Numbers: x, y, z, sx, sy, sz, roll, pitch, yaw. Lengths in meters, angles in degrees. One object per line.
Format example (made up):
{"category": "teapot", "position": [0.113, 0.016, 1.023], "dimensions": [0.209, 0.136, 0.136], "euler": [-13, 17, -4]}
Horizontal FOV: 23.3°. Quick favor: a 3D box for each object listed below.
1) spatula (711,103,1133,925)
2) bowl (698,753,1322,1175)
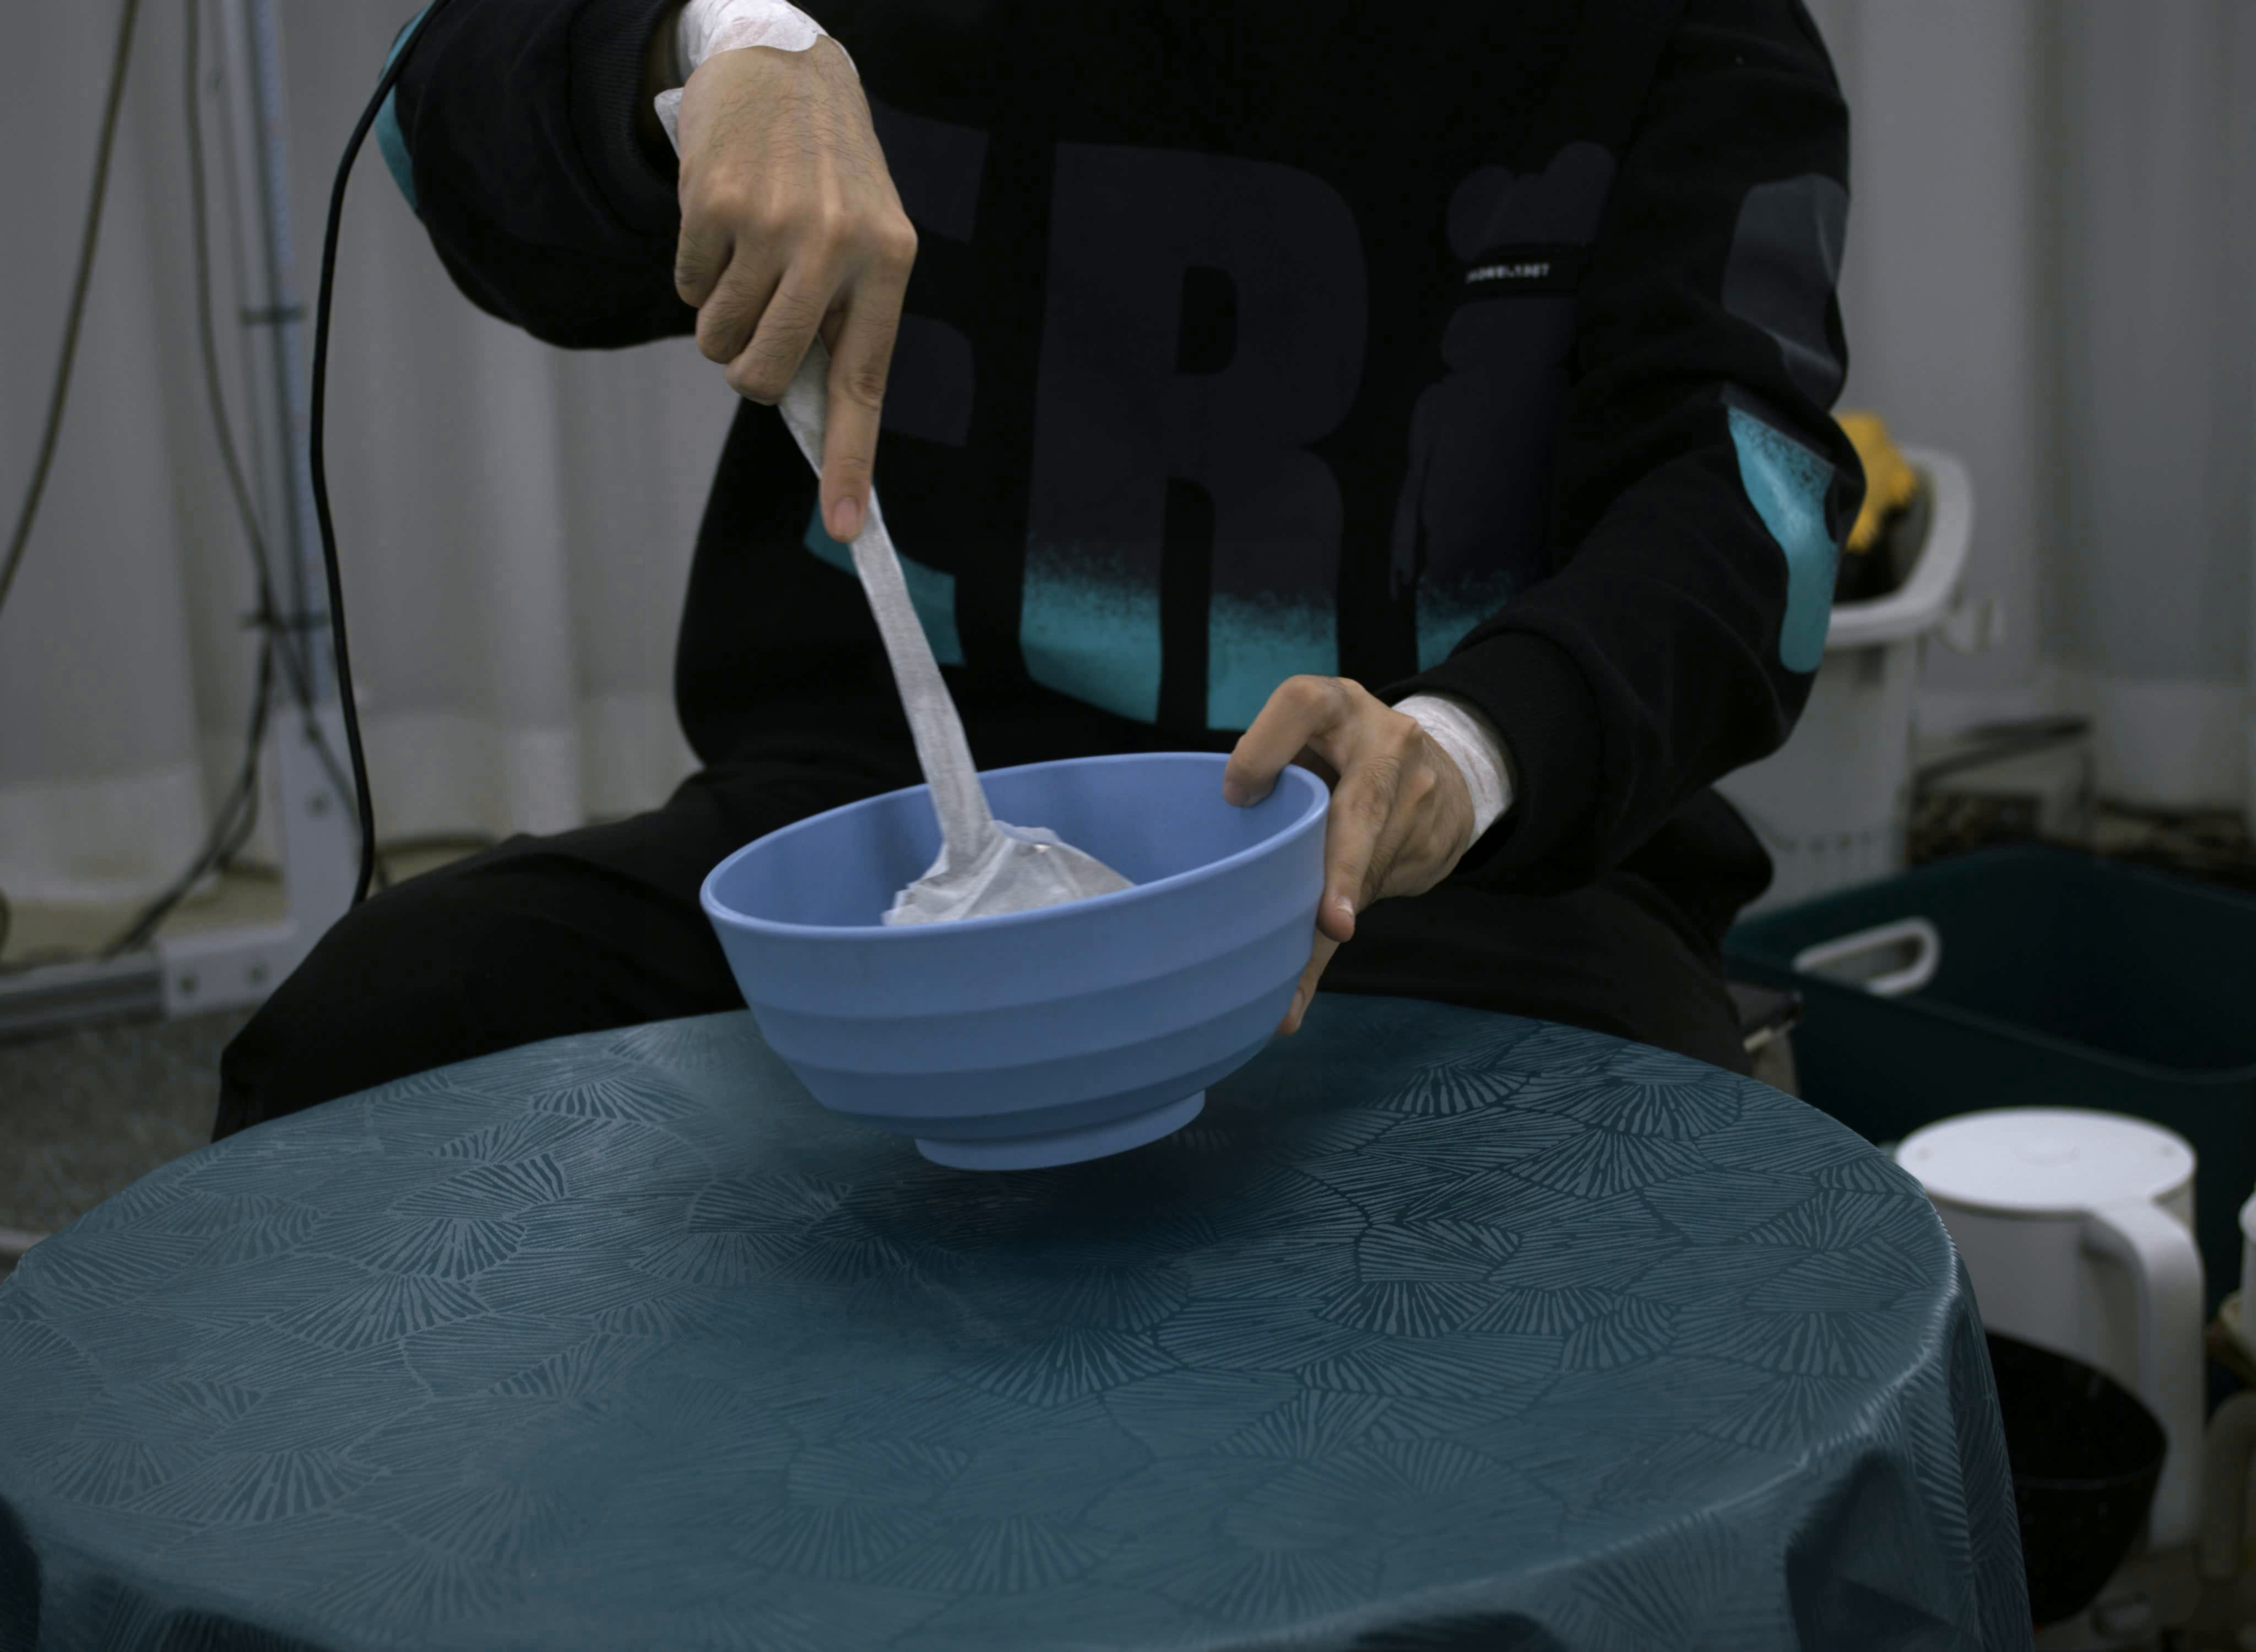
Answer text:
{"category": "spatula", "position": [-0.070, -0.075, 1.747], "dimensions": [0.098, 0.368, 0.044], "euler": [-16, -14, -18]}
{"category": "bowl", "position": [-0.029, 0.049, 1.696], "dimensions": [0.196, 0.095, 0.197], "euler": [-10, 13, 2]}
